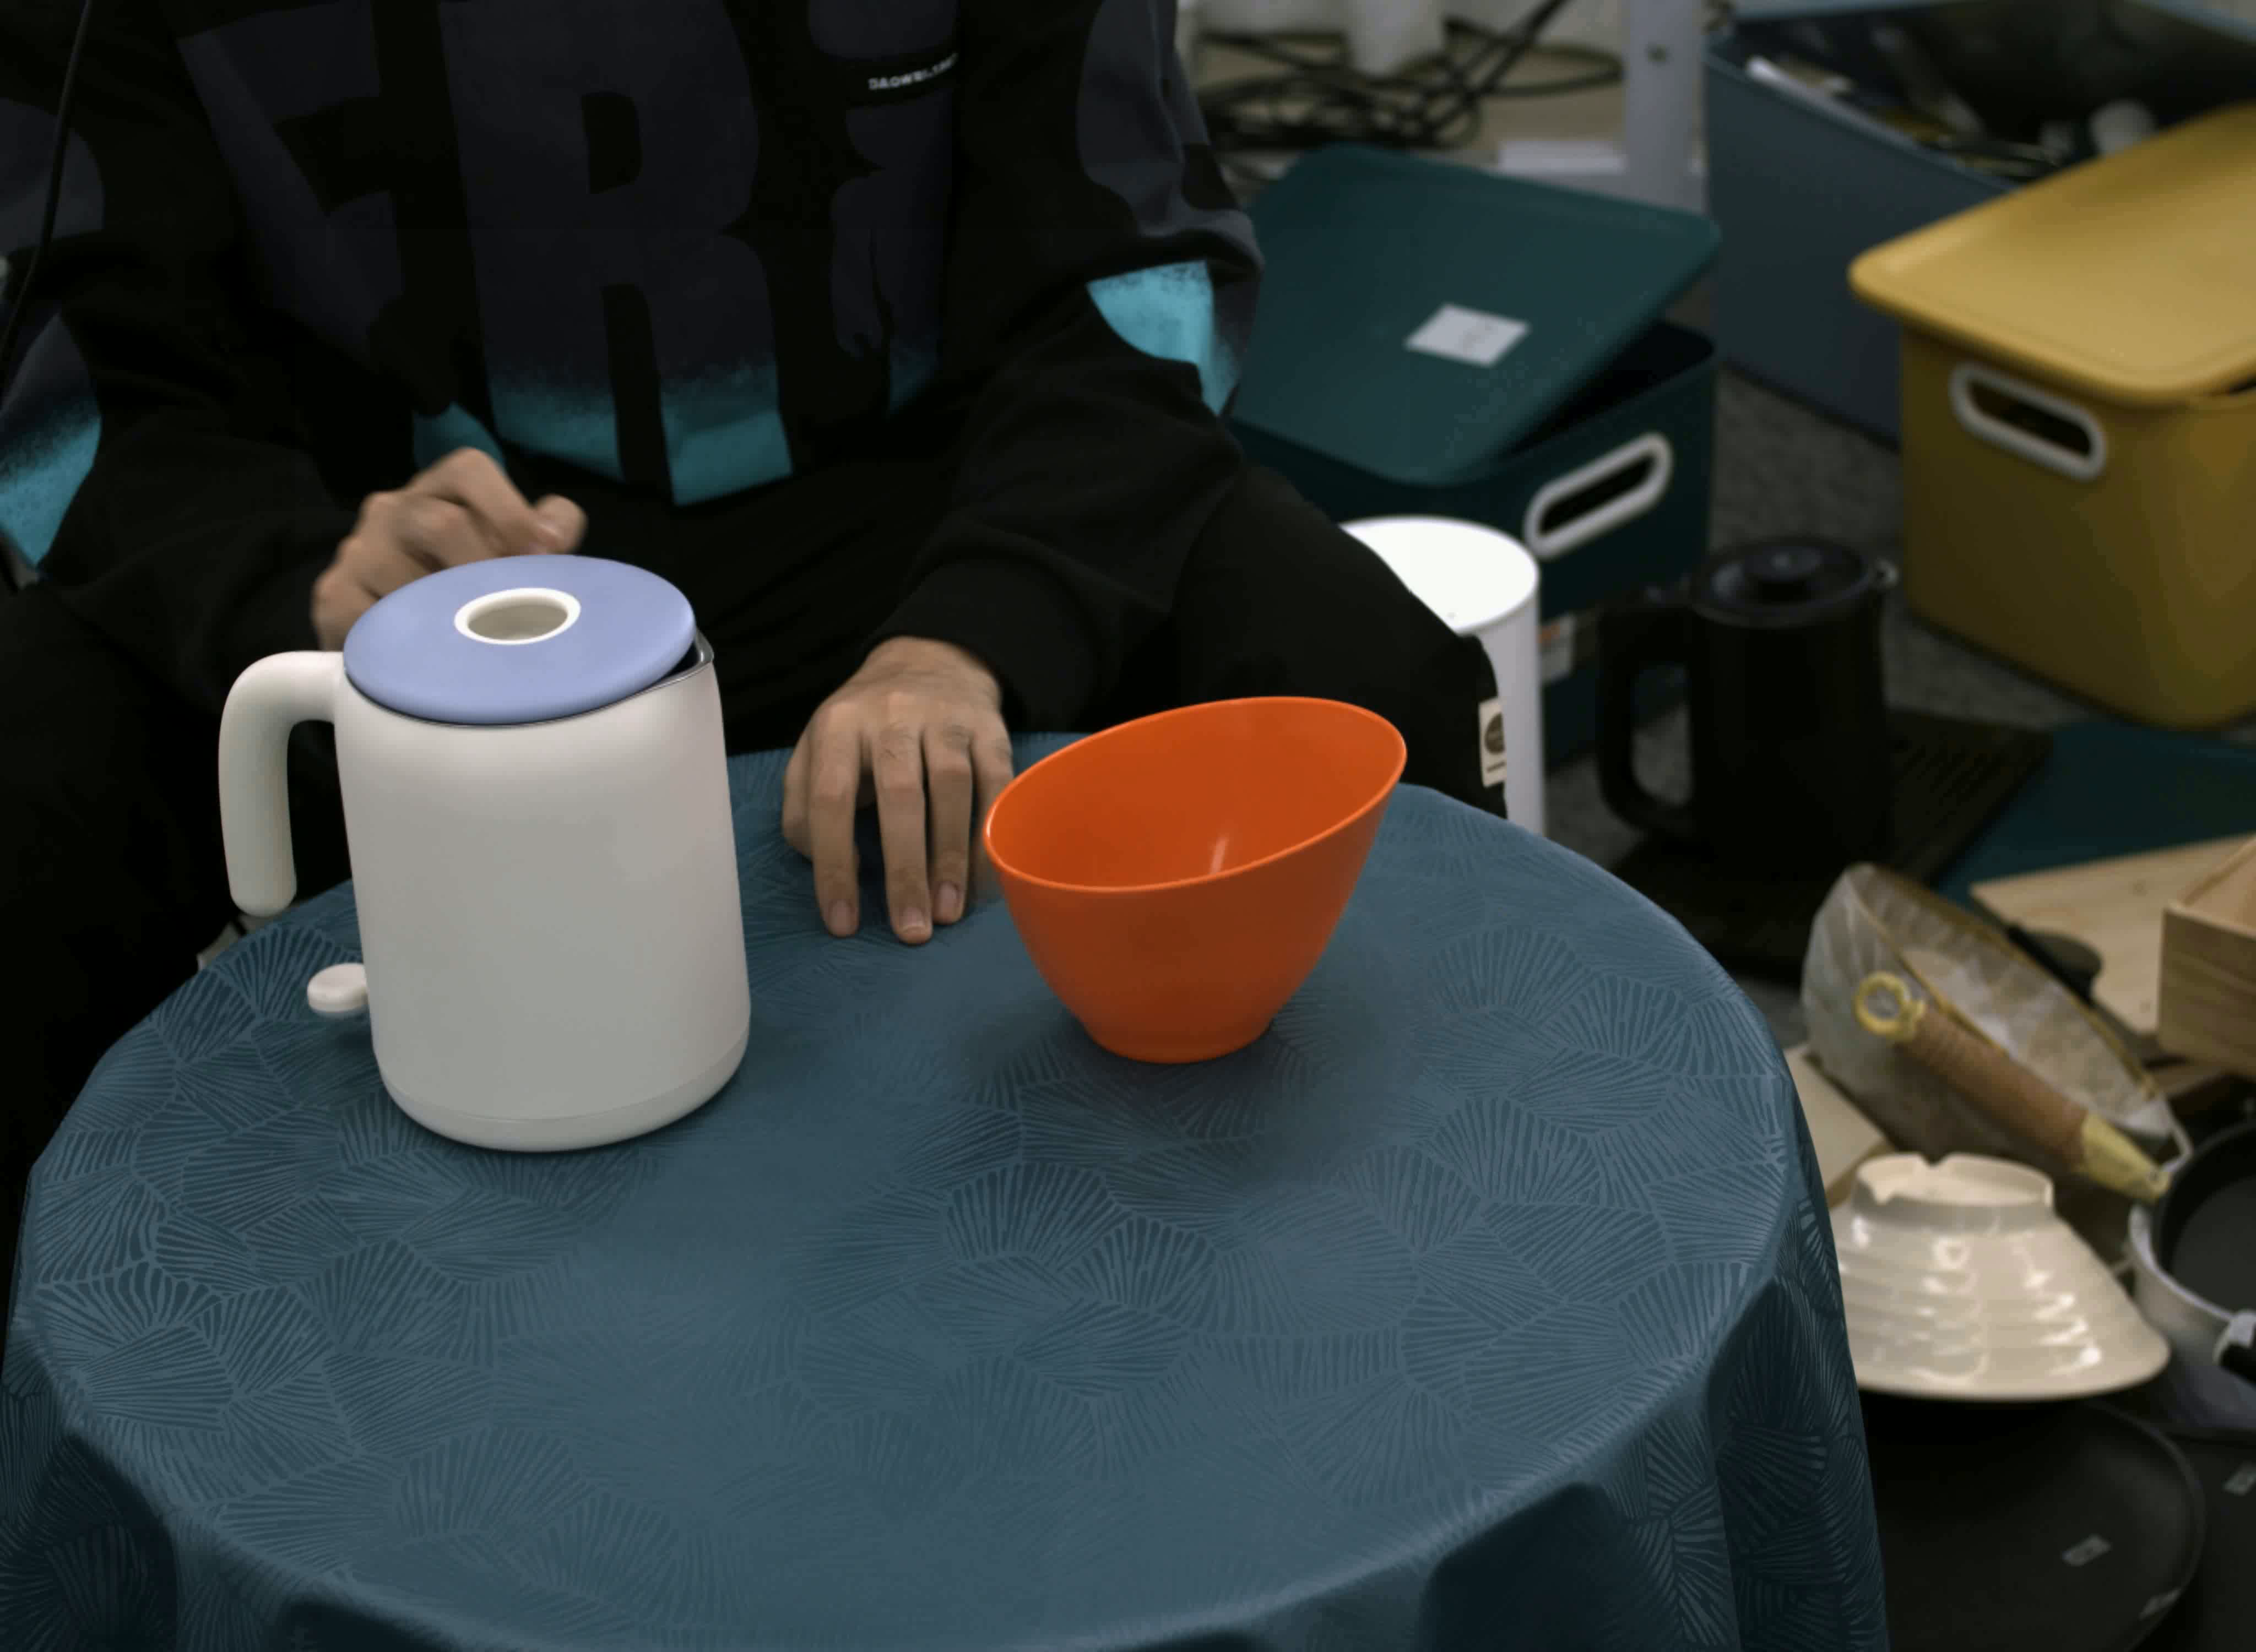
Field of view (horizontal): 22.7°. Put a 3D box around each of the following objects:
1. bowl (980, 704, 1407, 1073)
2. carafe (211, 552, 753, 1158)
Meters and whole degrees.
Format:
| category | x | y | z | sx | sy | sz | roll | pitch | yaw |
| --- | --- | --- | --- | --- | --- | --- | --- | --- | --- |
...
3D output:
| category | x | y | z | sx | sy | sz | roll | pitch | yaw |
| --- | --- | --- | --- | --- | --- | --- | --- | --- | --- |
| bowl | 0.023 | 0.026 | 1.934 | 0.147 | 0.103 | 0.150 | -2 | 27 | 1 |
| carafe | -0.222 | 0.009 | 1.918 | 0.189 | 0.181 | 0.134 | 2 | 26 | 15 |
